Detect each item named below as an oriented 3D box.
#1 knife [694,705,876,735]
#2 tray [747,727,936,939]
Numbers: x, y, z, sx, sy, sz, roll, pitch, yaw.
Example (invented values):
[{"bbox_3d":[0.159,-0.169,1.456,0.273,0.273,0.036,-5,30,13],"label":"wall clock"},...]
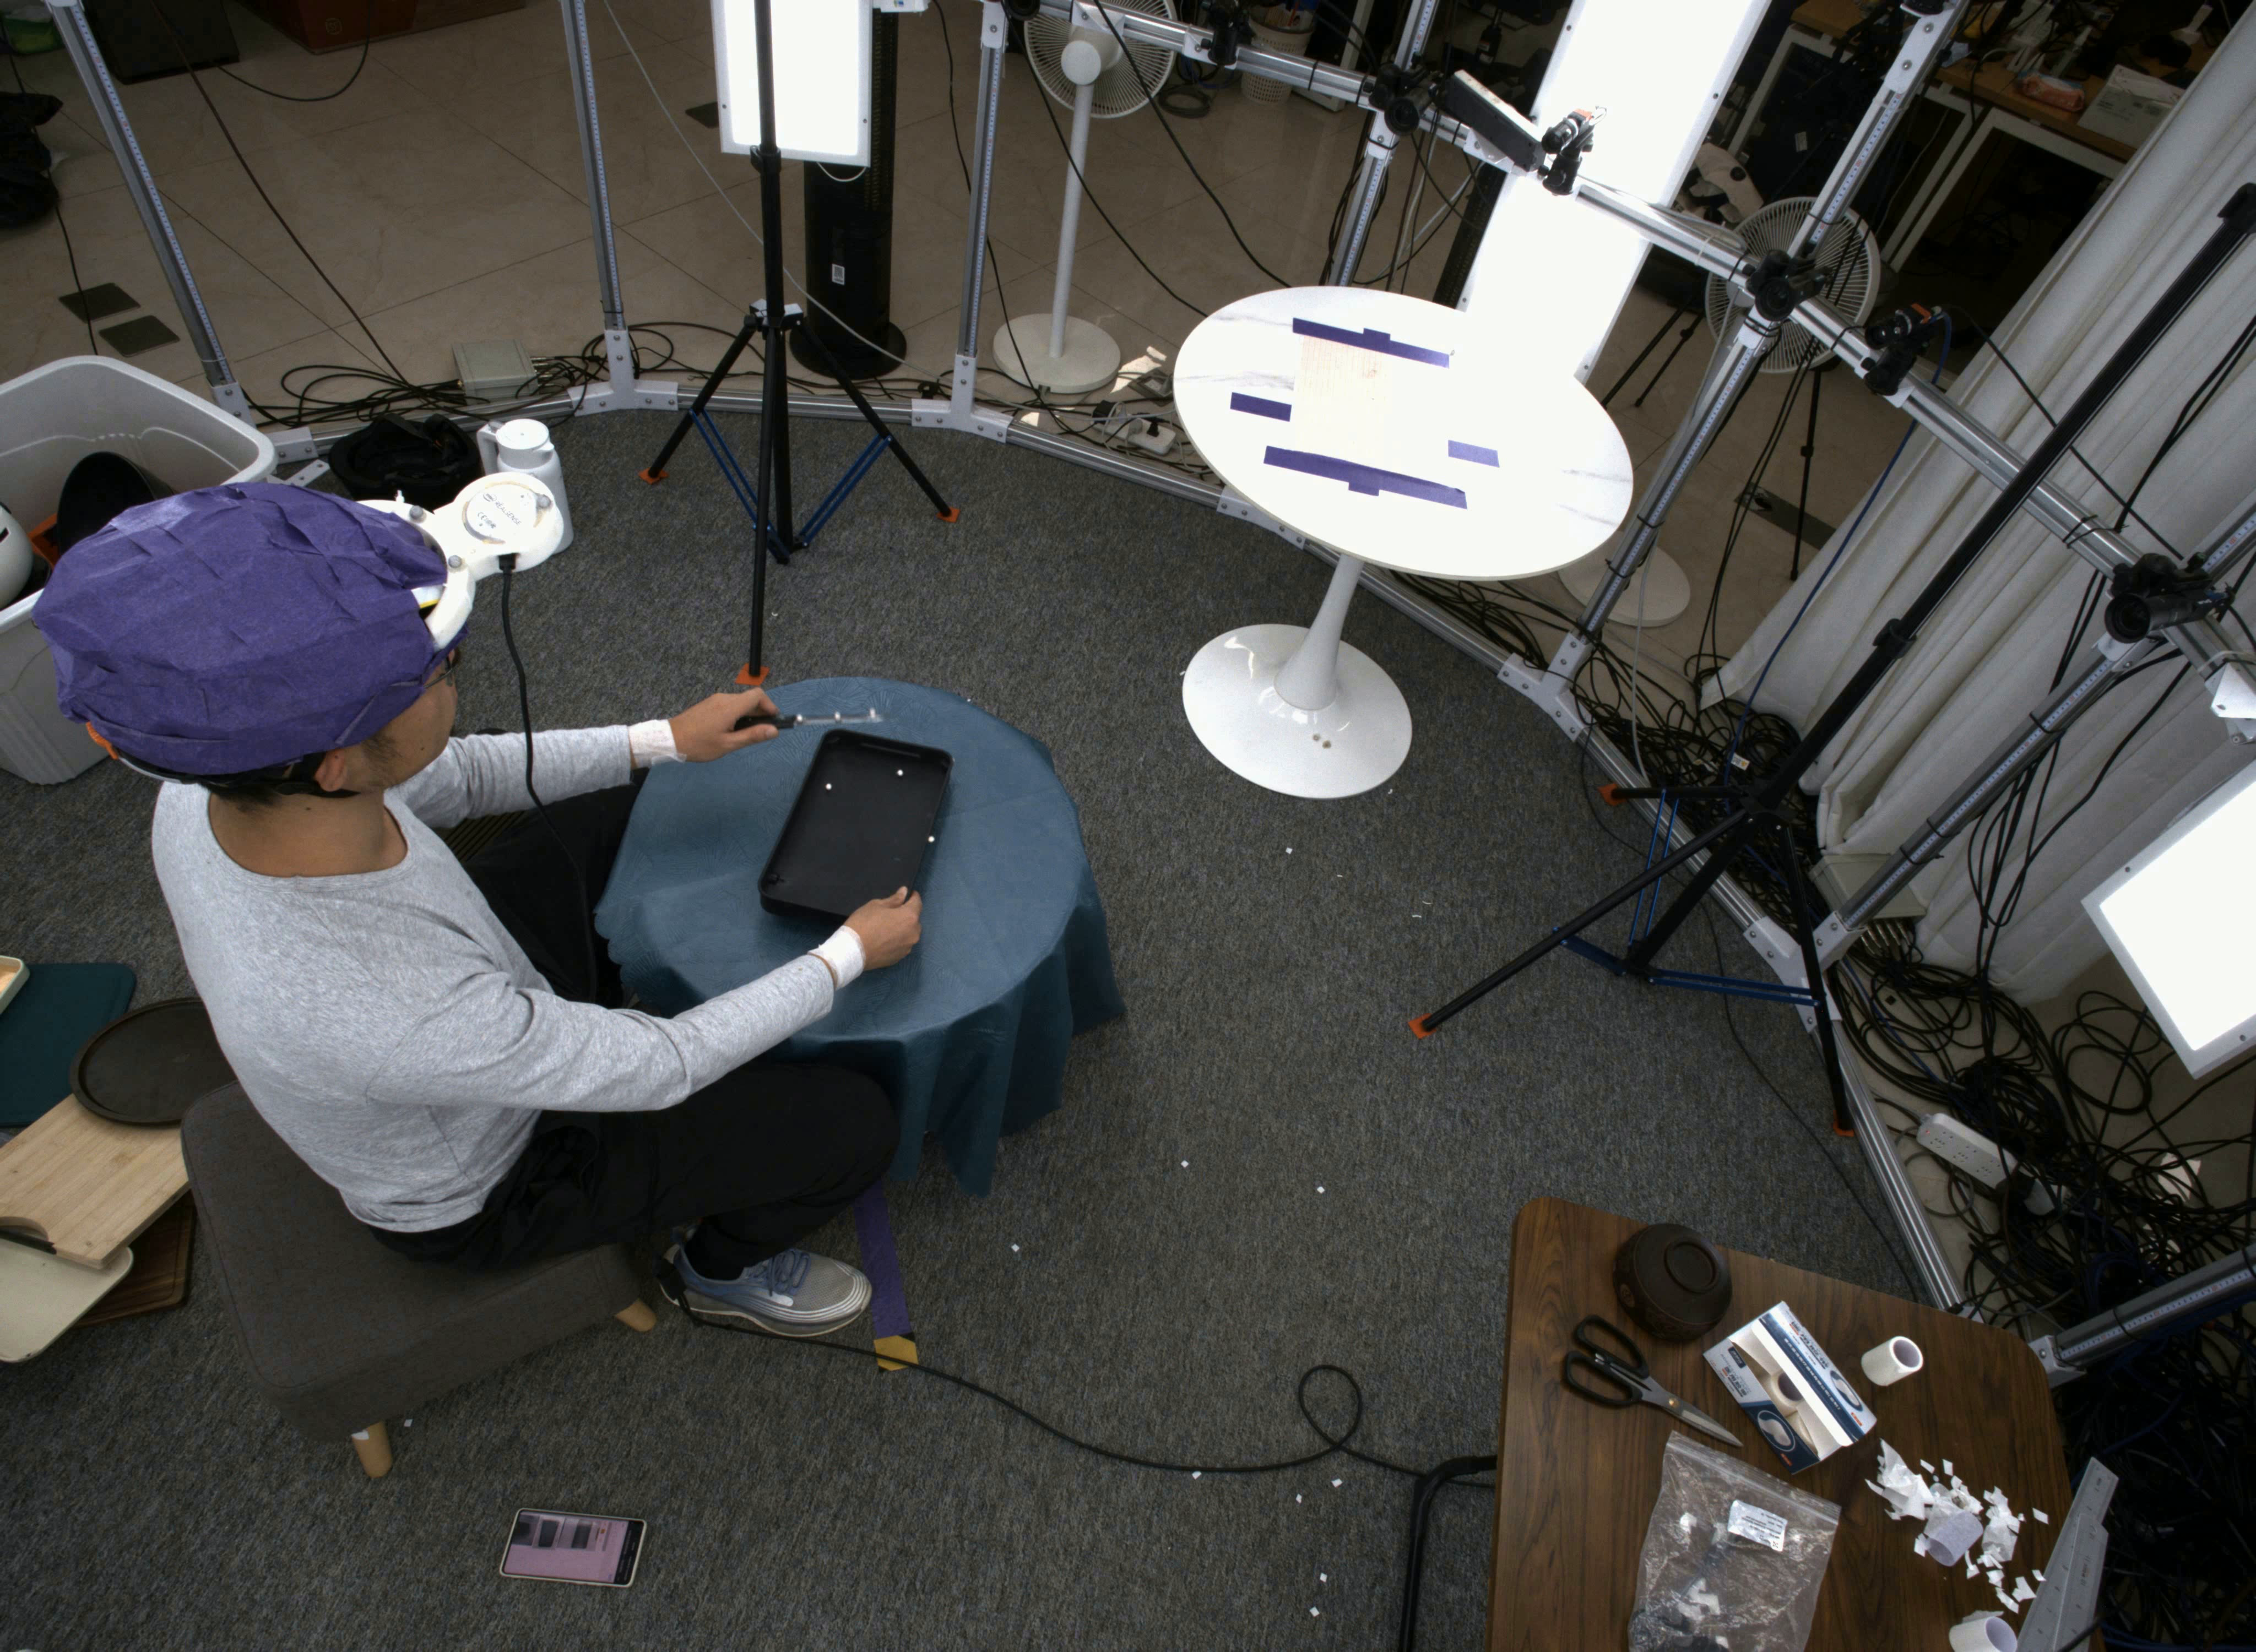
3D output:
[{"bbox_3d":[-0.434,-0.136,1.628,0.235,0.017,0.024,-6,29,0],"label":"knife"},{"bbox_3d":[-0.368,0.002,1.702,0.183,0.038,0.312,11,48,-5],"label":"tray"}]
